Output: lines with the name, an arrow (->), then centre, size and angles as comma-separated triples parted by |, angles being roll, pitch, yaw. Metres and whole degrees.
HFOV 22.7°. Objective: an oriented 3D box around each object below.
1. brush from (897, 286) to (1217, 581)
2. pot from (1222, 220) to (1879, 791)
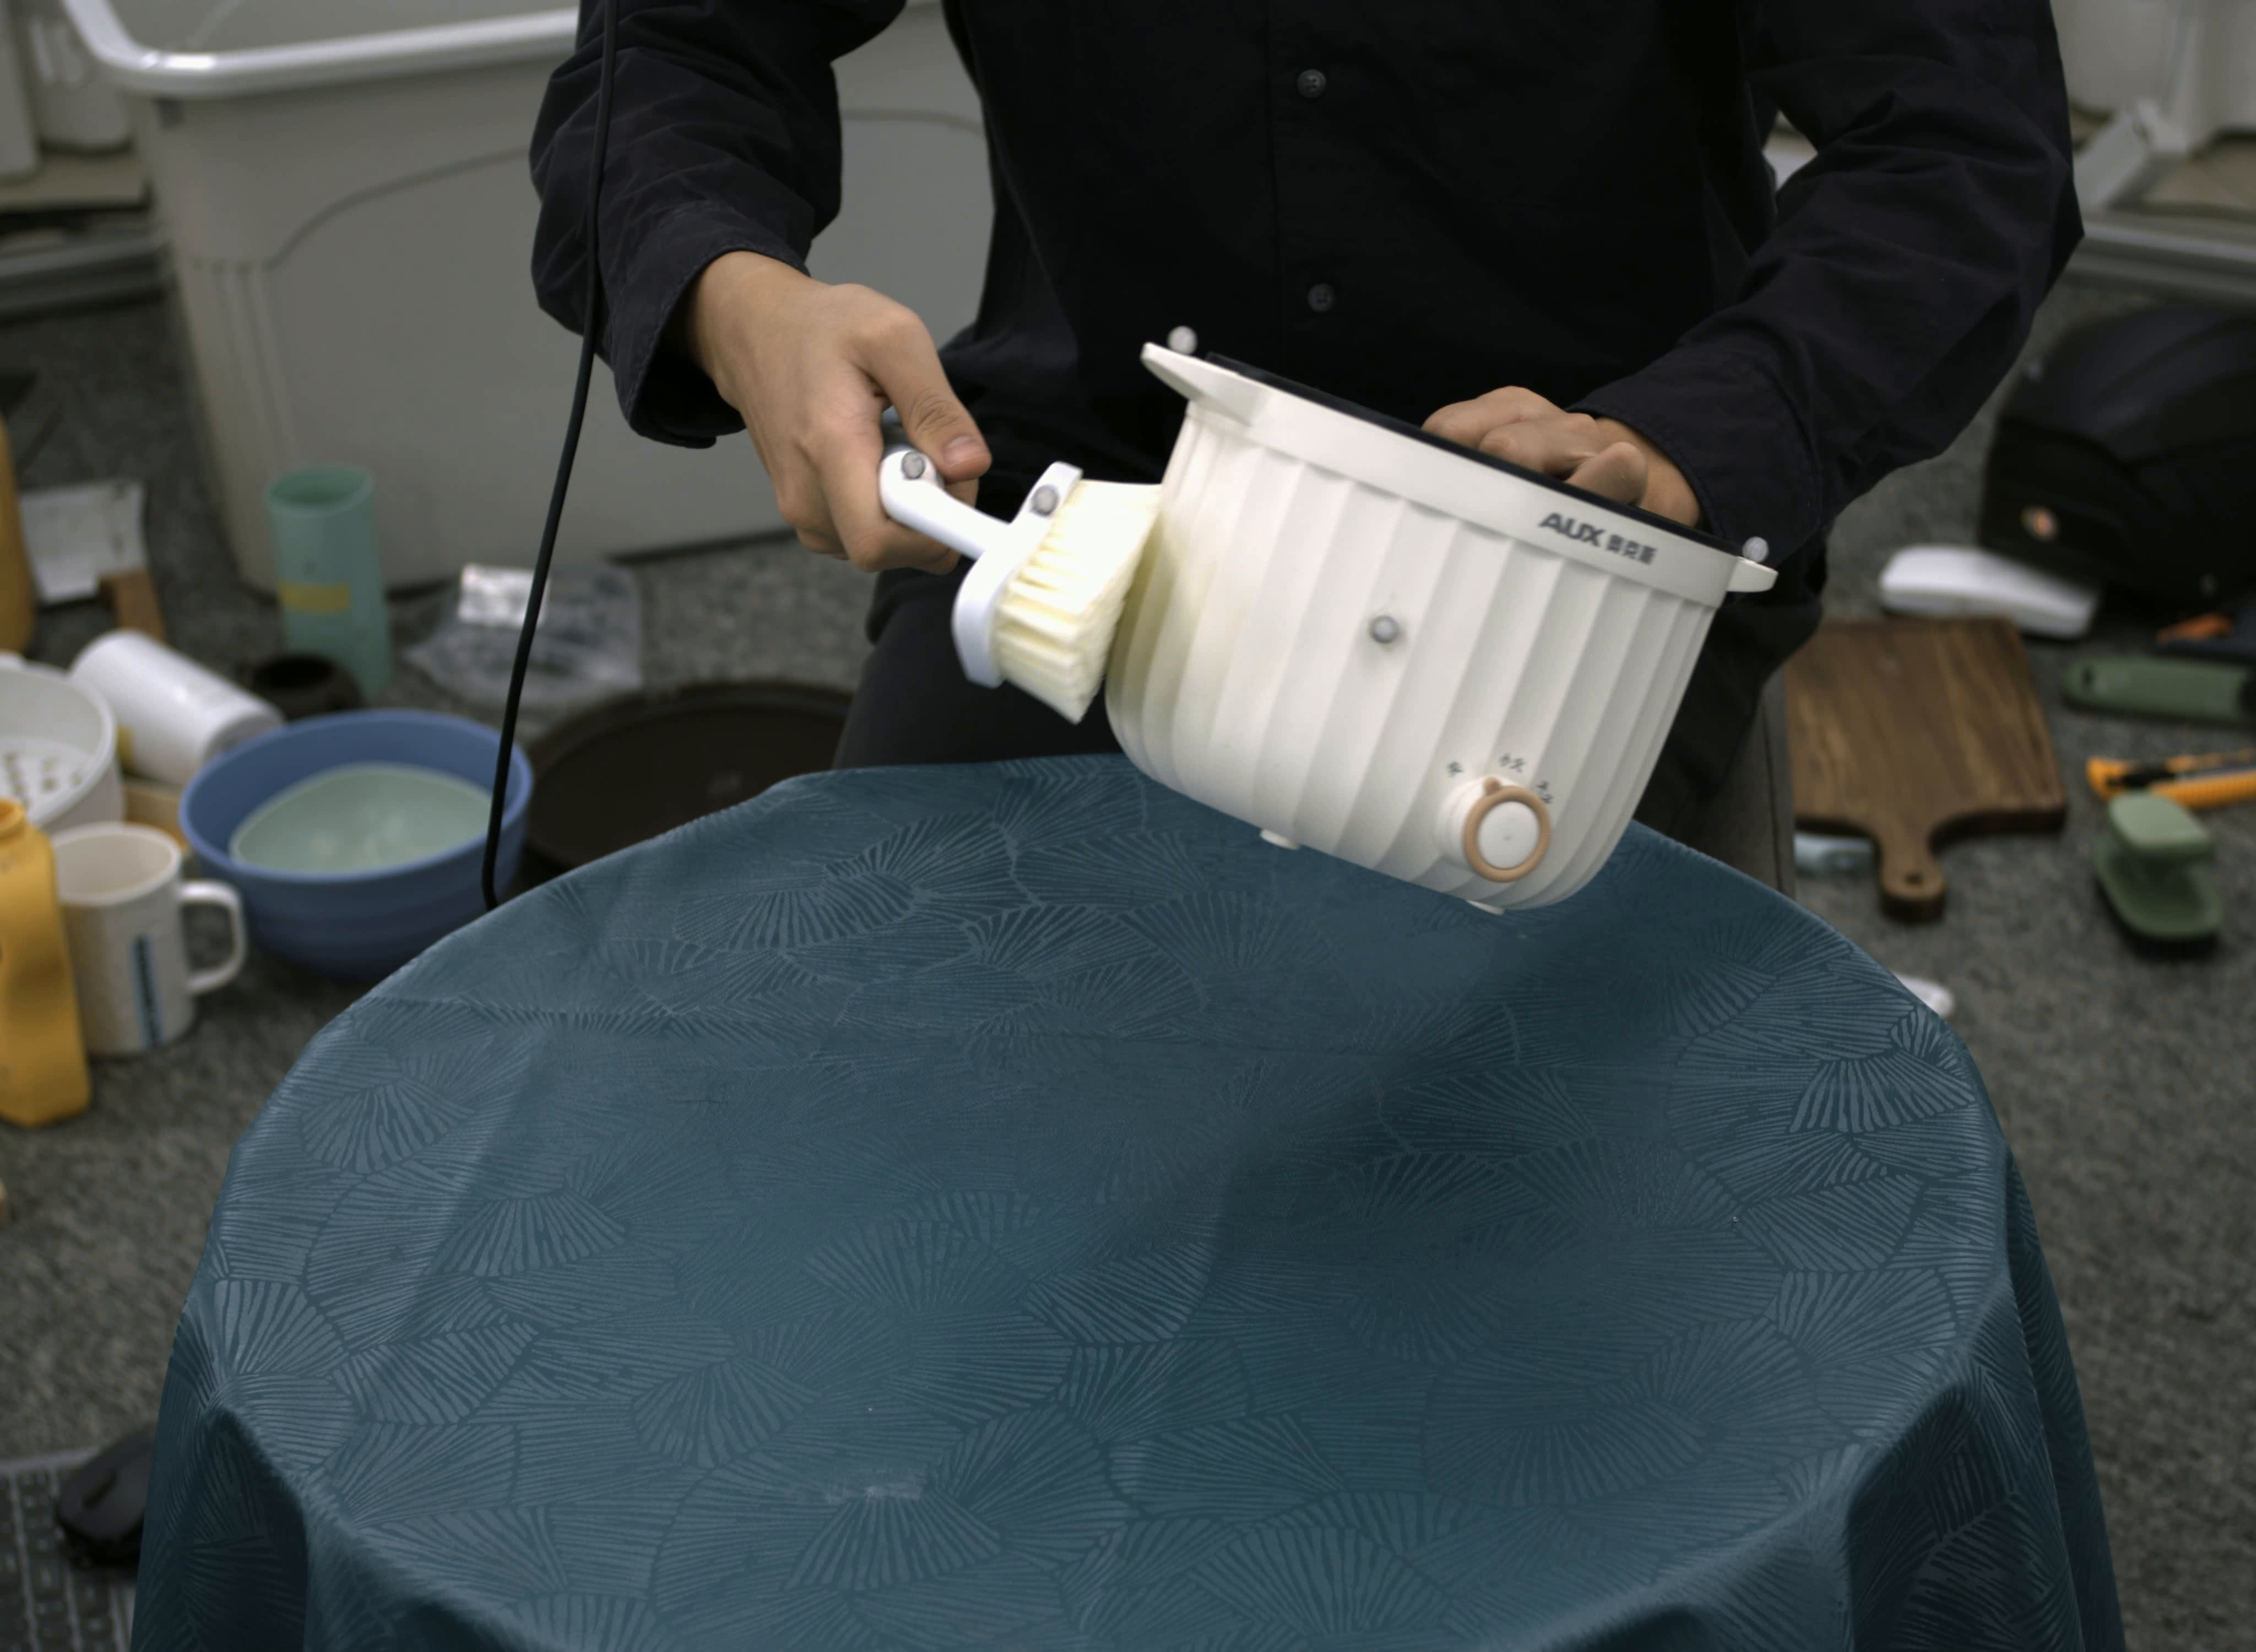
brush -> -0.012, -0.141, 1.874 | 0.083, 0.084, 0.327 | -38, 15, 2
pot -> 0.127, -0.095, 1.805 | 0.240, 0.143, 0.190 | 16, 2, -29
